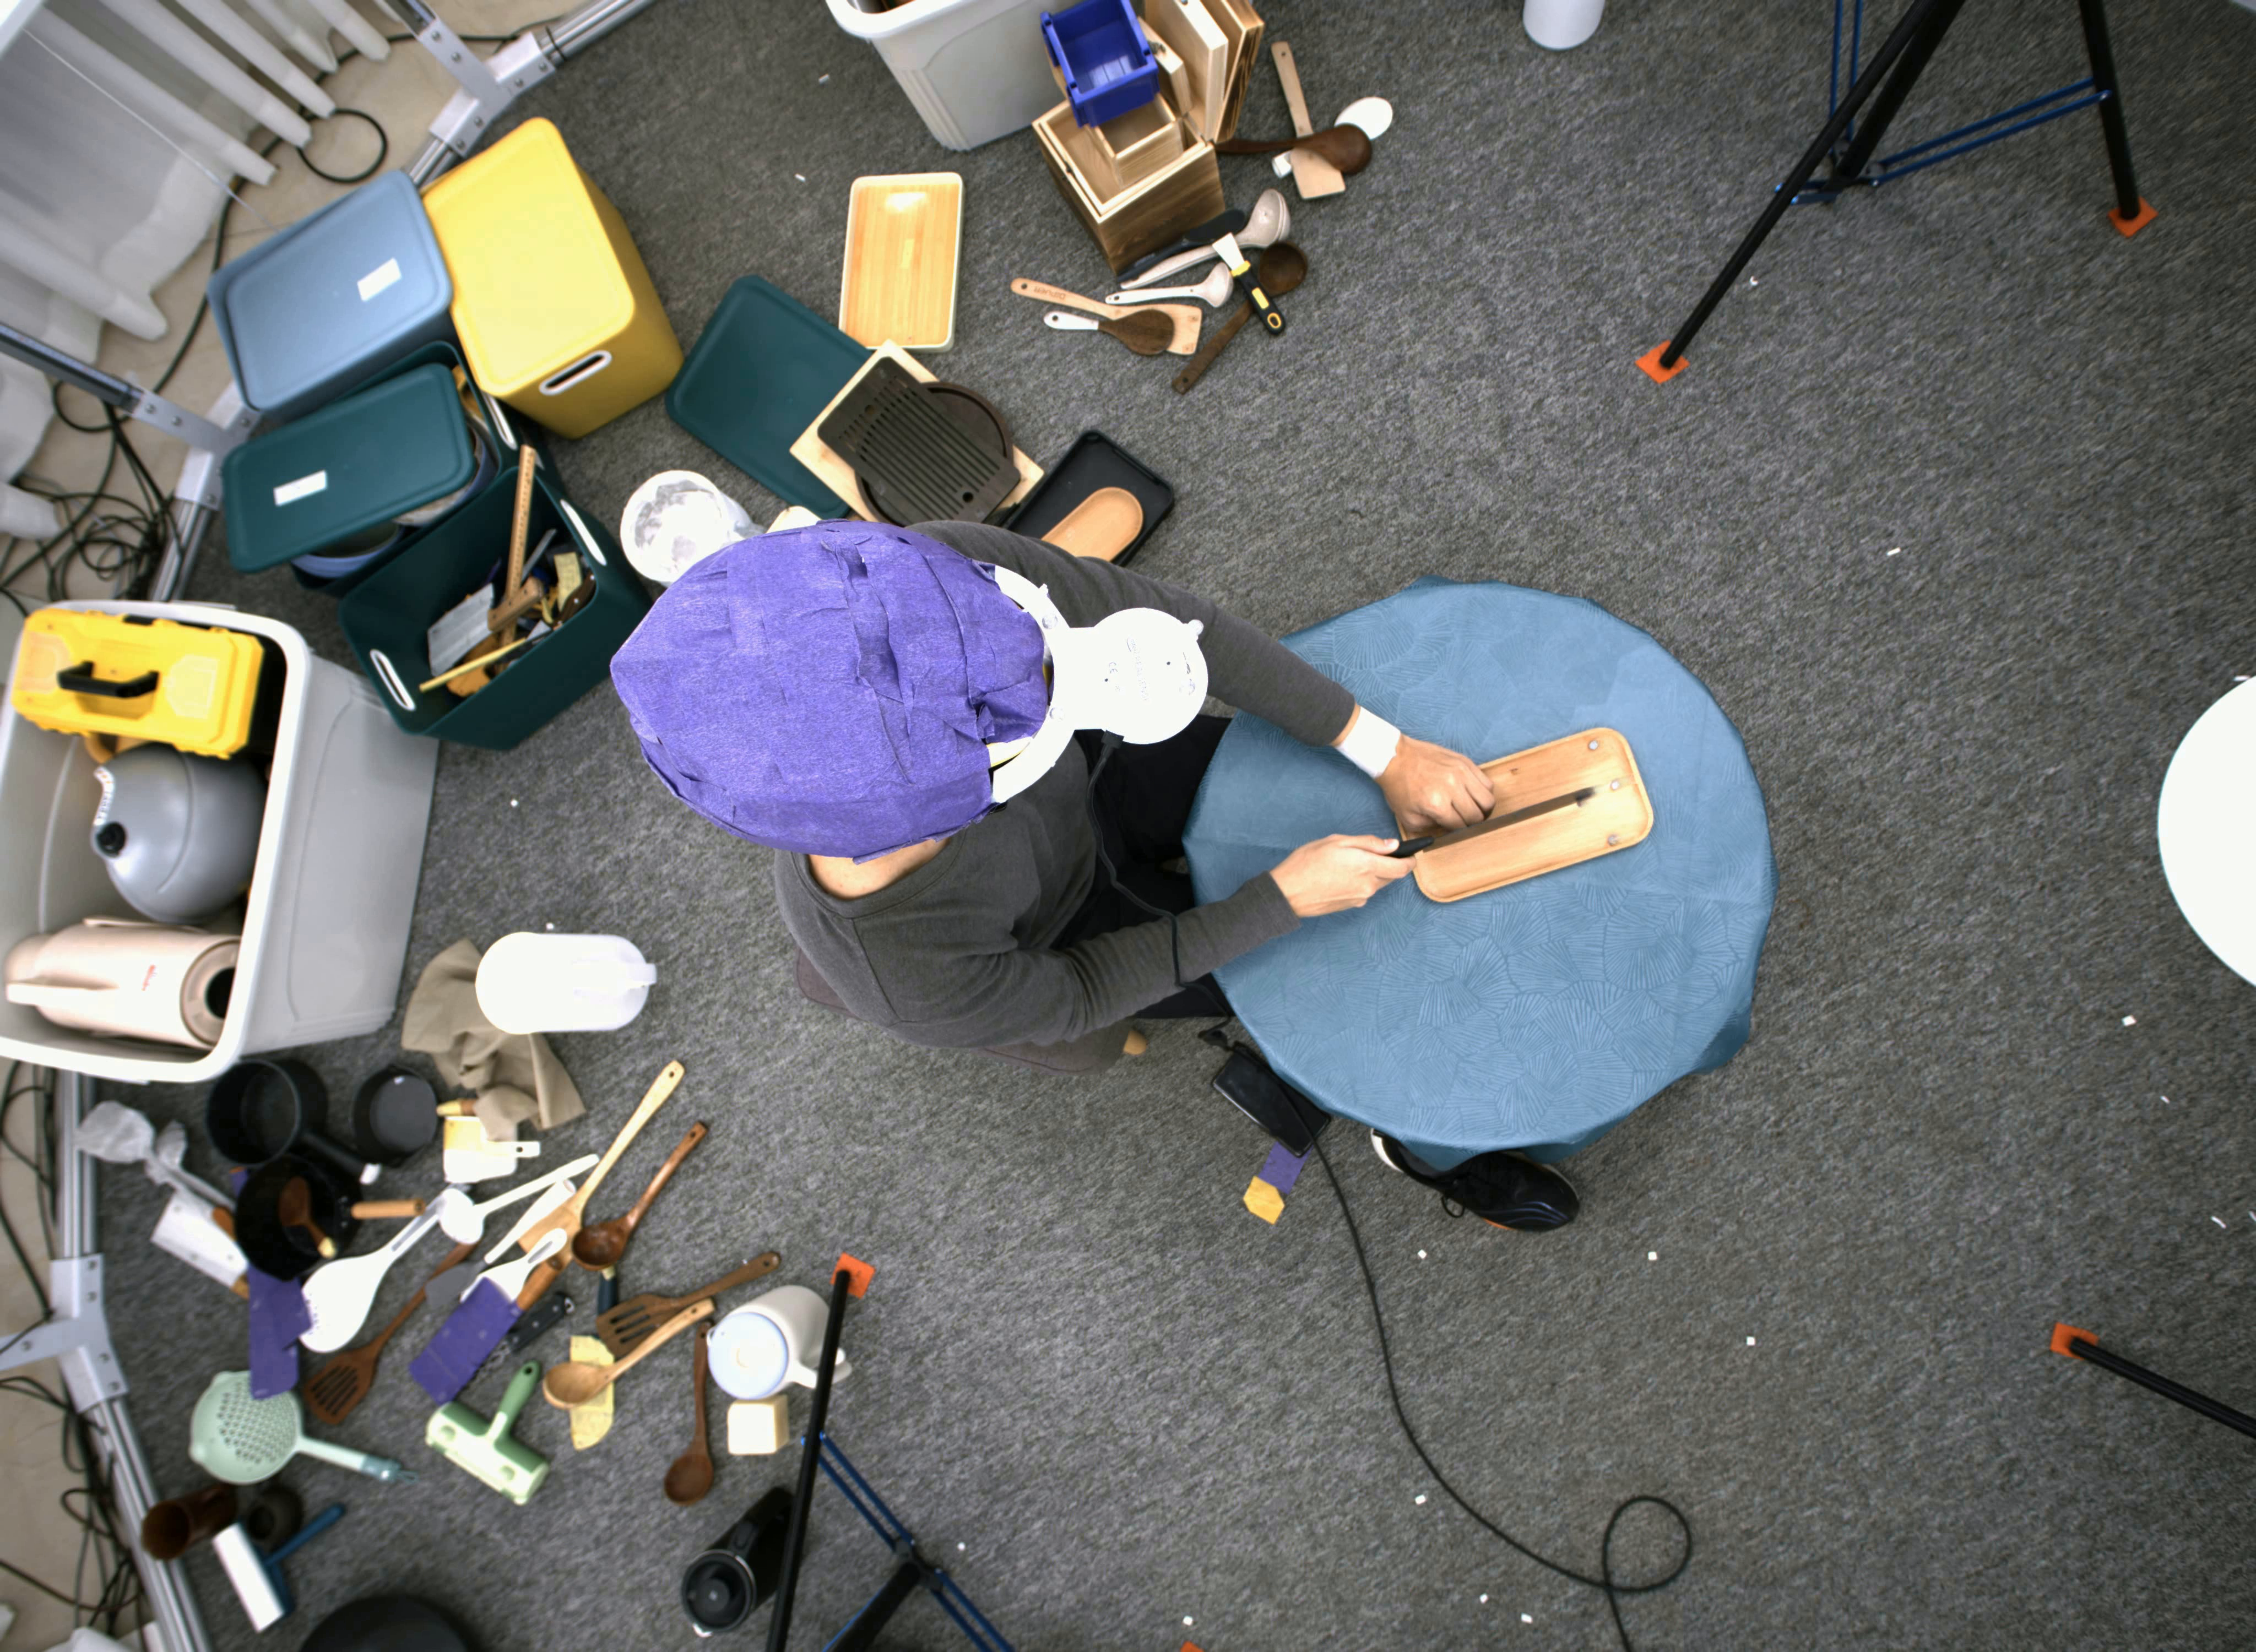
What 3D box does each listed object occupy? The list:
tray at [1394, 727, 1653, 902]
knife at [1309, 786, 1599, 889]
[{"bbox_3d":[0.410,-0.013,1.431,0.252,0.023,0.129,-18,81,10],"label":"tray"},{"bbox_3d":[0.329,0.010,1.393,0.303,0.081,0.020,-18,75,5],"label":"knife"}]
